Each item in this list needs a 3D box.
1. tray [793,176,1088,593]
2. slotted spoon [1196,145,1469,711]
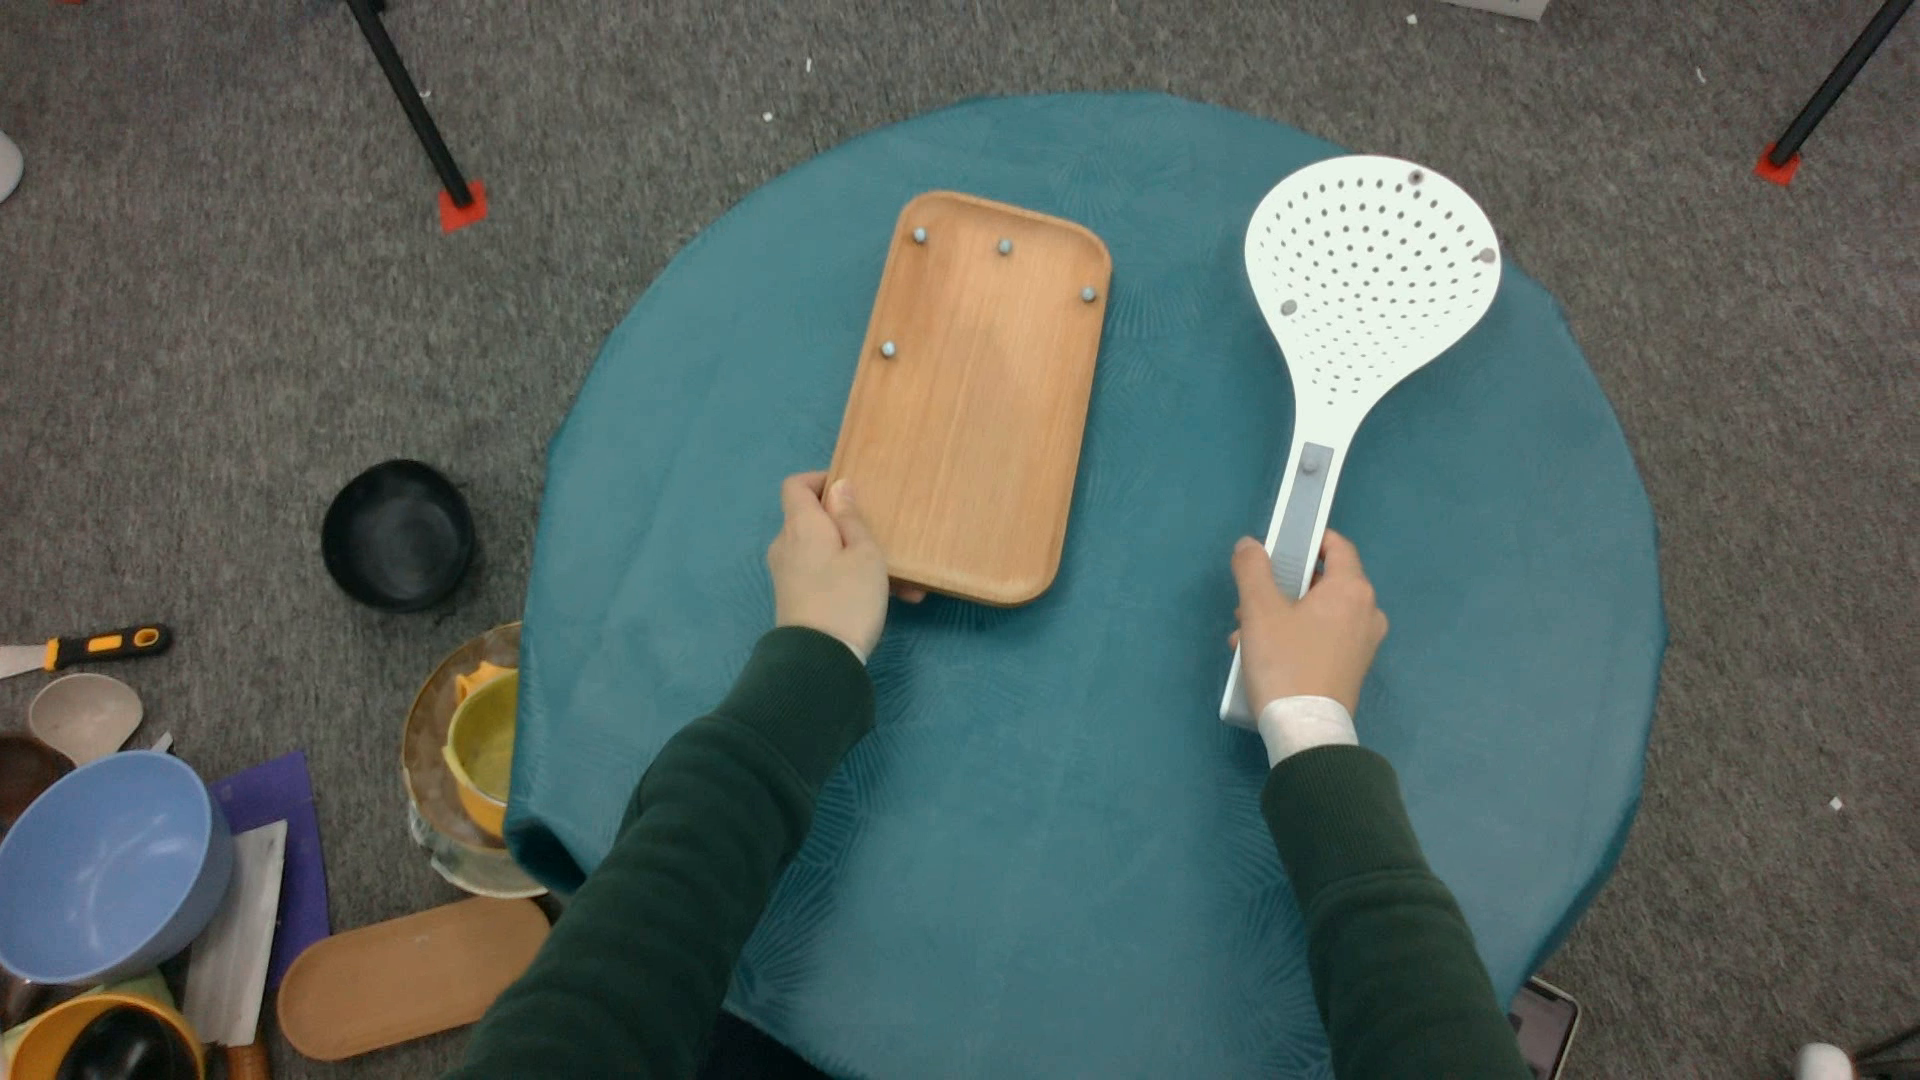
[{"bbox_3d":[-0.006,-0.091,0.752,0.130,0.023,0.252,13,63,-2],"label":"tray"},{"bbox_3d":[0.181,-0.071,0.729,0.136,0.045,0.351,14,61,12],"label":"slotted spoon"}]
